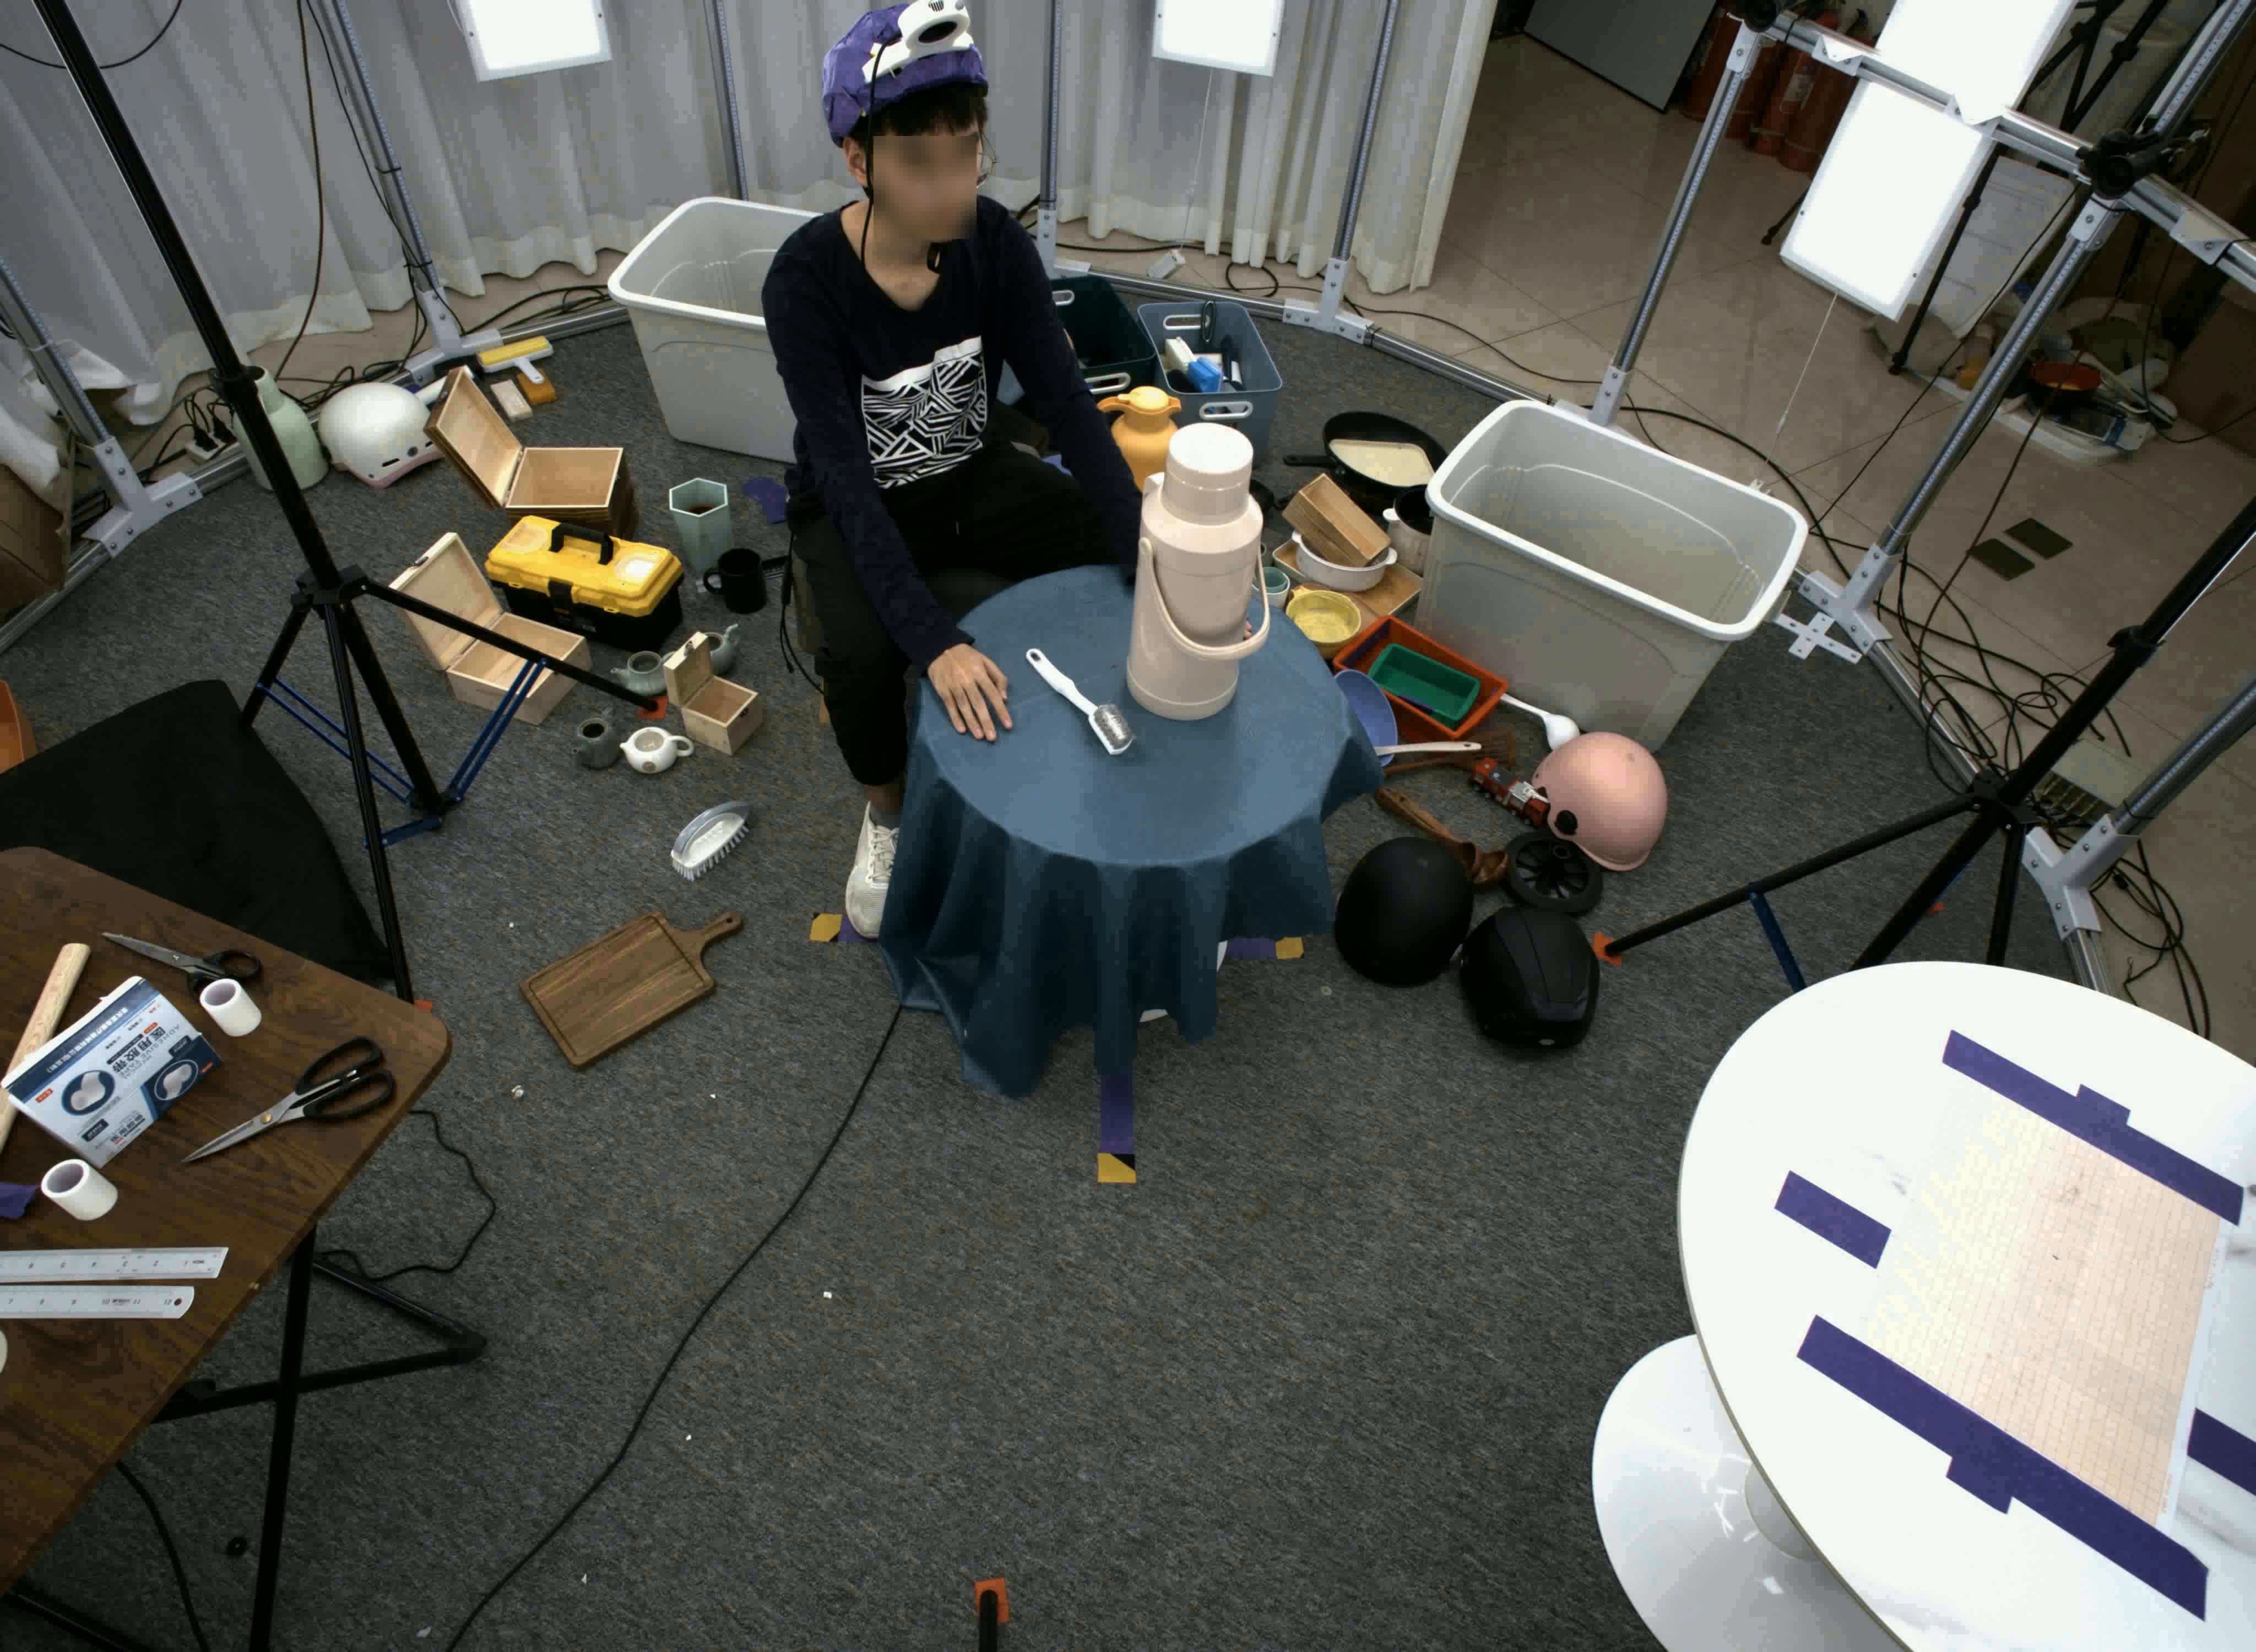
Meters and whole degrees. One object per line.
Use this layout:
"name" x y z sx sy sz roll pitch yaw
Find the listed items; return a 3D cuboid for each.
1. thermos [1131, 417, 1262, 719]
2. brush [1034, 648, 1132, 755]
"thermos" 0.083 -0.346 1.718 0.176 0.396 0.211 -25 55 -22
"brush" -0.068 -0.188 1.796 0.034 0.049 0.249 -26 55 -17
